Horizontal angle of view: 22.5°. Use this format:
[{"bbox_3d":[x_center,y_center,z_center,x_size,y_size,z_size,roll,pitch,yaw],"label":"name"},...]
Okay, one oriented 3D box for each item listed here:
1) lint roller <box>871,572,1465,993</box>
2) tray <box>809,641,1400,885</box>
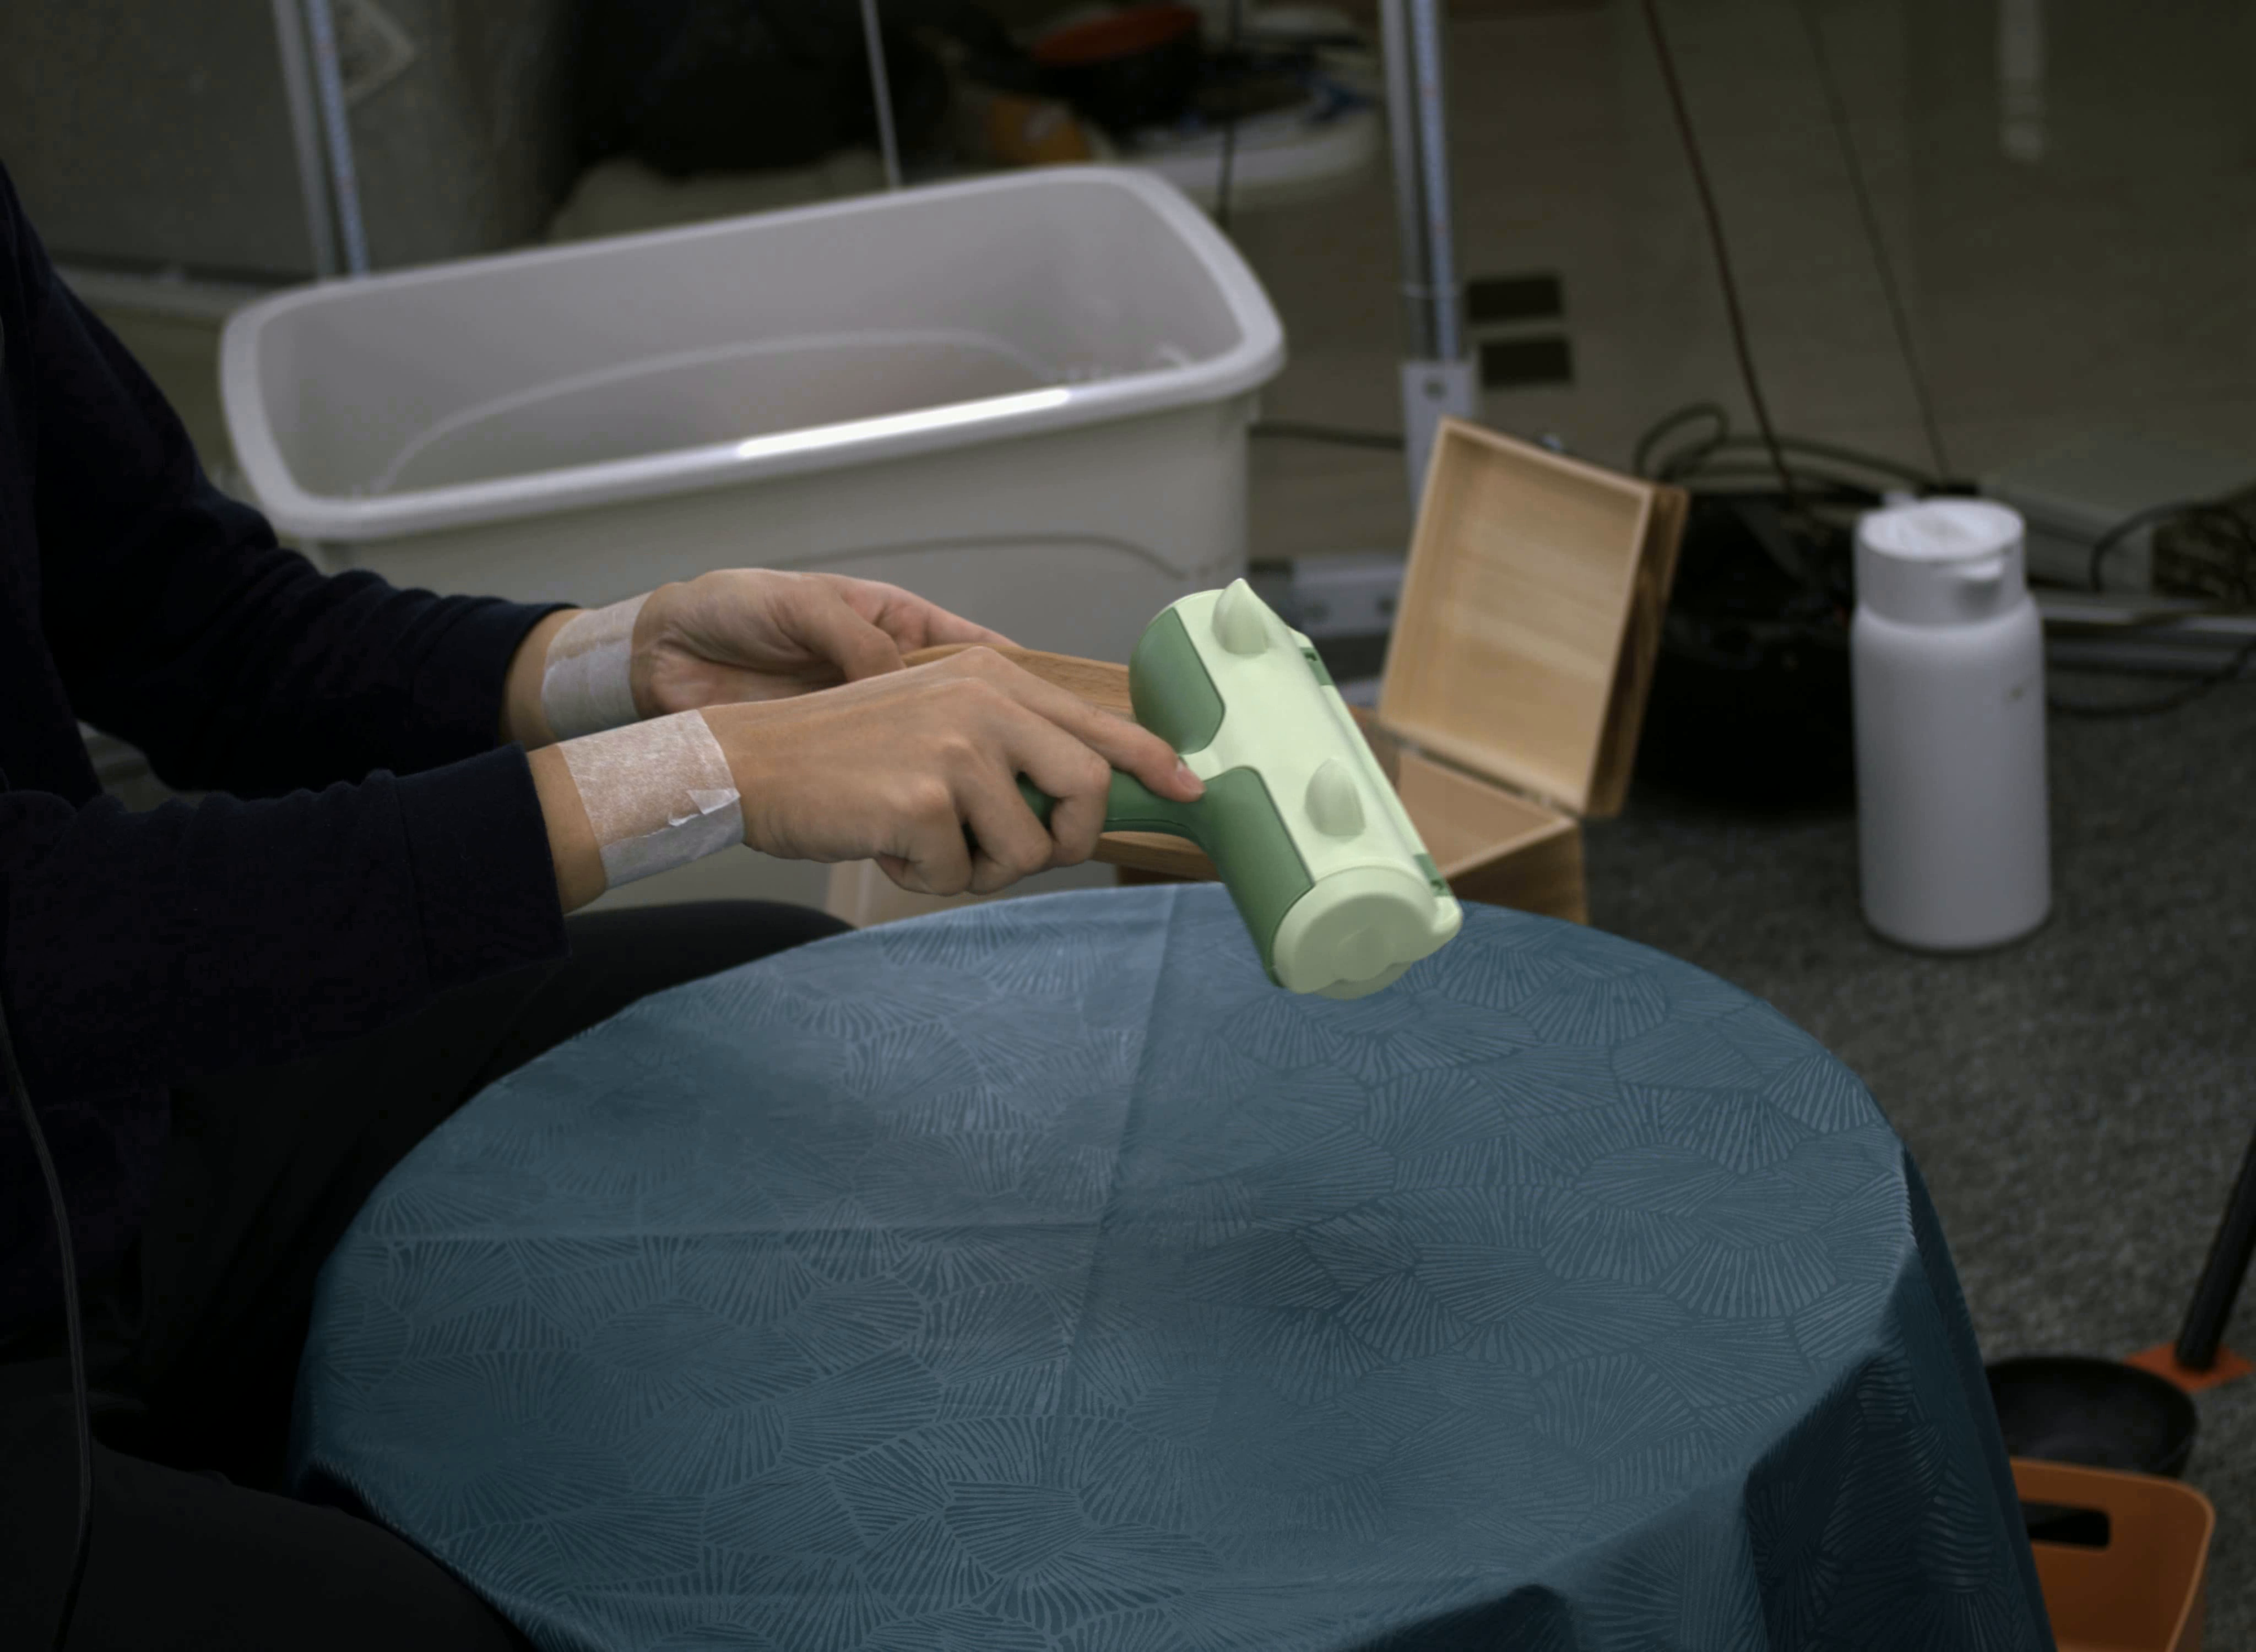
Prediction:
[{"bbox_3d":[0.006,-0.029,1.943,0.183,0.083,0.195,9,30,-24],"label":"lint roller"},{"bbox_3d":[-0.010,-0.023,2.061,0.230,0.021,0.100,12,43,25],"label":"tray"}]
